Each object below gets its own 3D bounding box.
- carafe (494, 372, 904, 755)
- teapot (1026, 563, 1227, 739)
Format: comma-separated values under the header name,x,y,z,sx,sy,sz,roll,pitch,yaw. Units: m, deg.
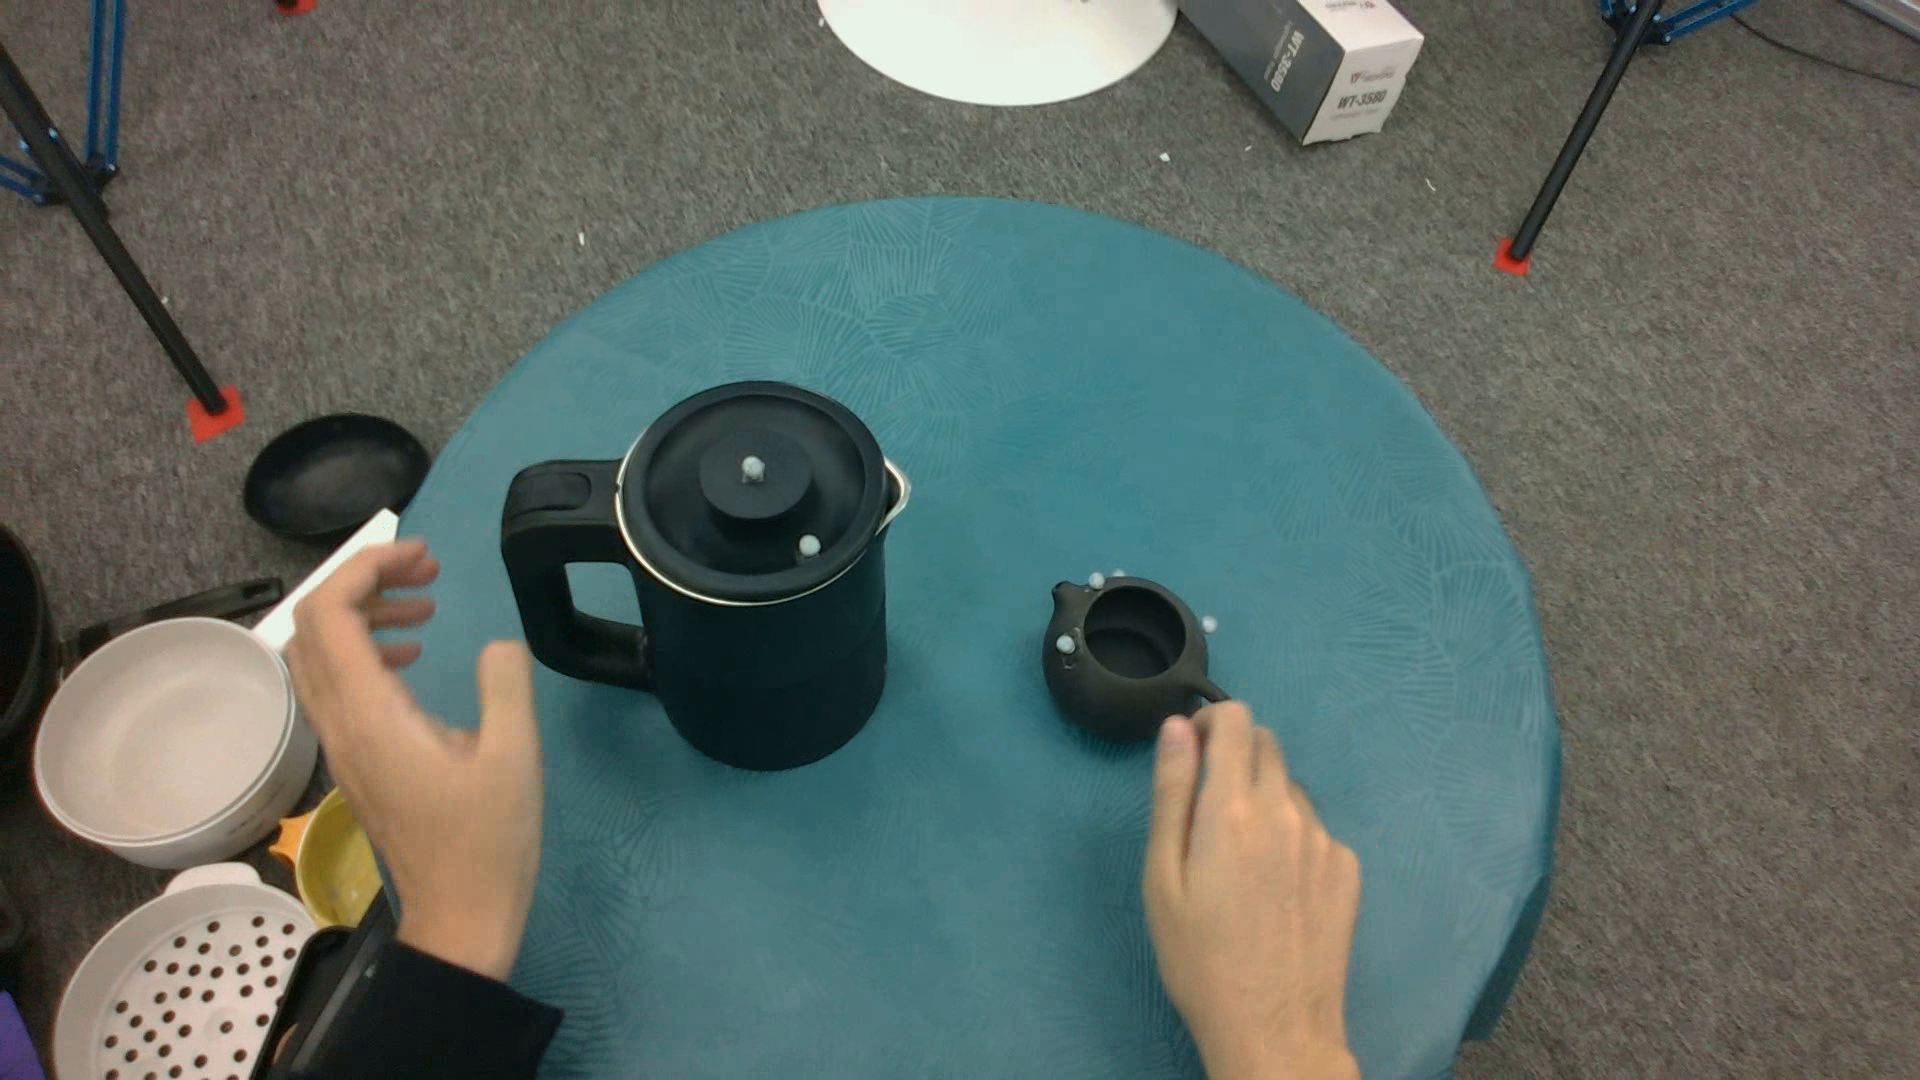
name,x,y,z,sx,sy,sz,roll,pitch,yaw
carafe,-0.115,0.014,0.615,0.172,0.172,0.115,-1,60,-7
teapot,0.083,0.057,0.672,0.114,0.053,0.083,37,64,22
